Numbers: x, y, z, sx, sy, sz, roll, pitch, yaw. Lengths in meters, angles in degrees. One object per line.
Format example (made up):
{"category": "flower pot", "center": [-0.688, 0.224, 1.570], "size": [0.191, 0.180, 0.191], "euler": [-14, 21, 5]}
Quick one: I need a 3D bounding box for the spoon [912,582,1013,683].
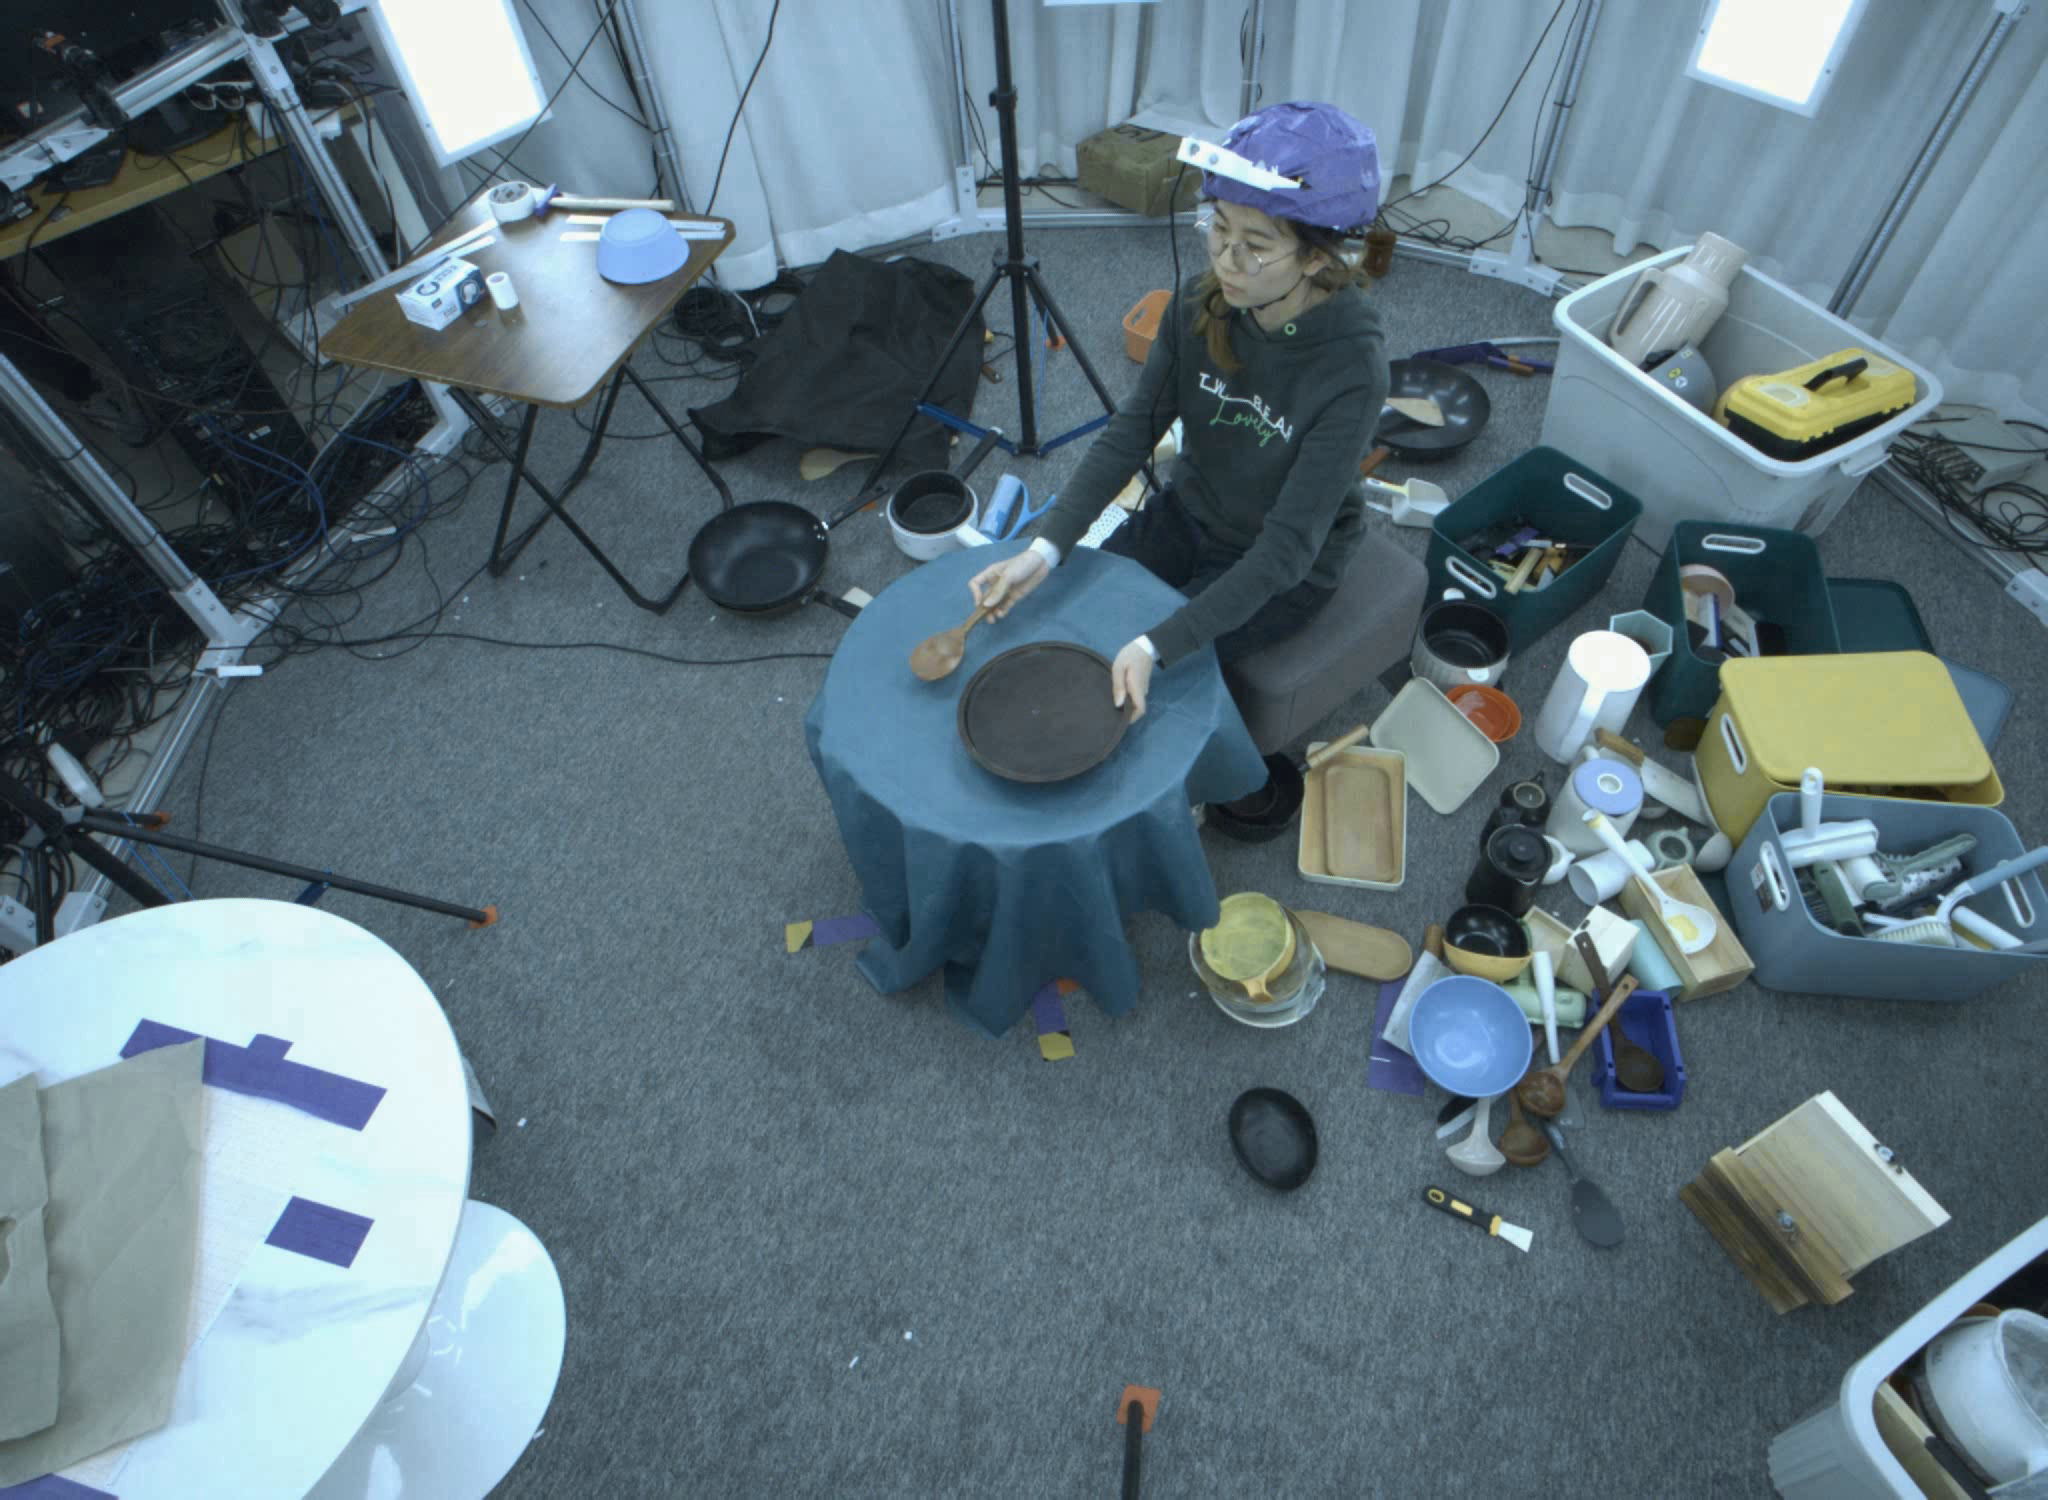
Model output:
{"category": "spoon", "center": [-0.089, -0.180, 1.874], "size": [0.074, 0.017, 0.216], "euler": [33, 68, 19]}

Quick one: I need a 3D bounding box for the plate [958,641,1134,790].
{"category": "plate", "center": [0.031, -0.049, 1.773], "size": [0.254, 0.029, 0.252], "euler": [-2, 58, 5]}
